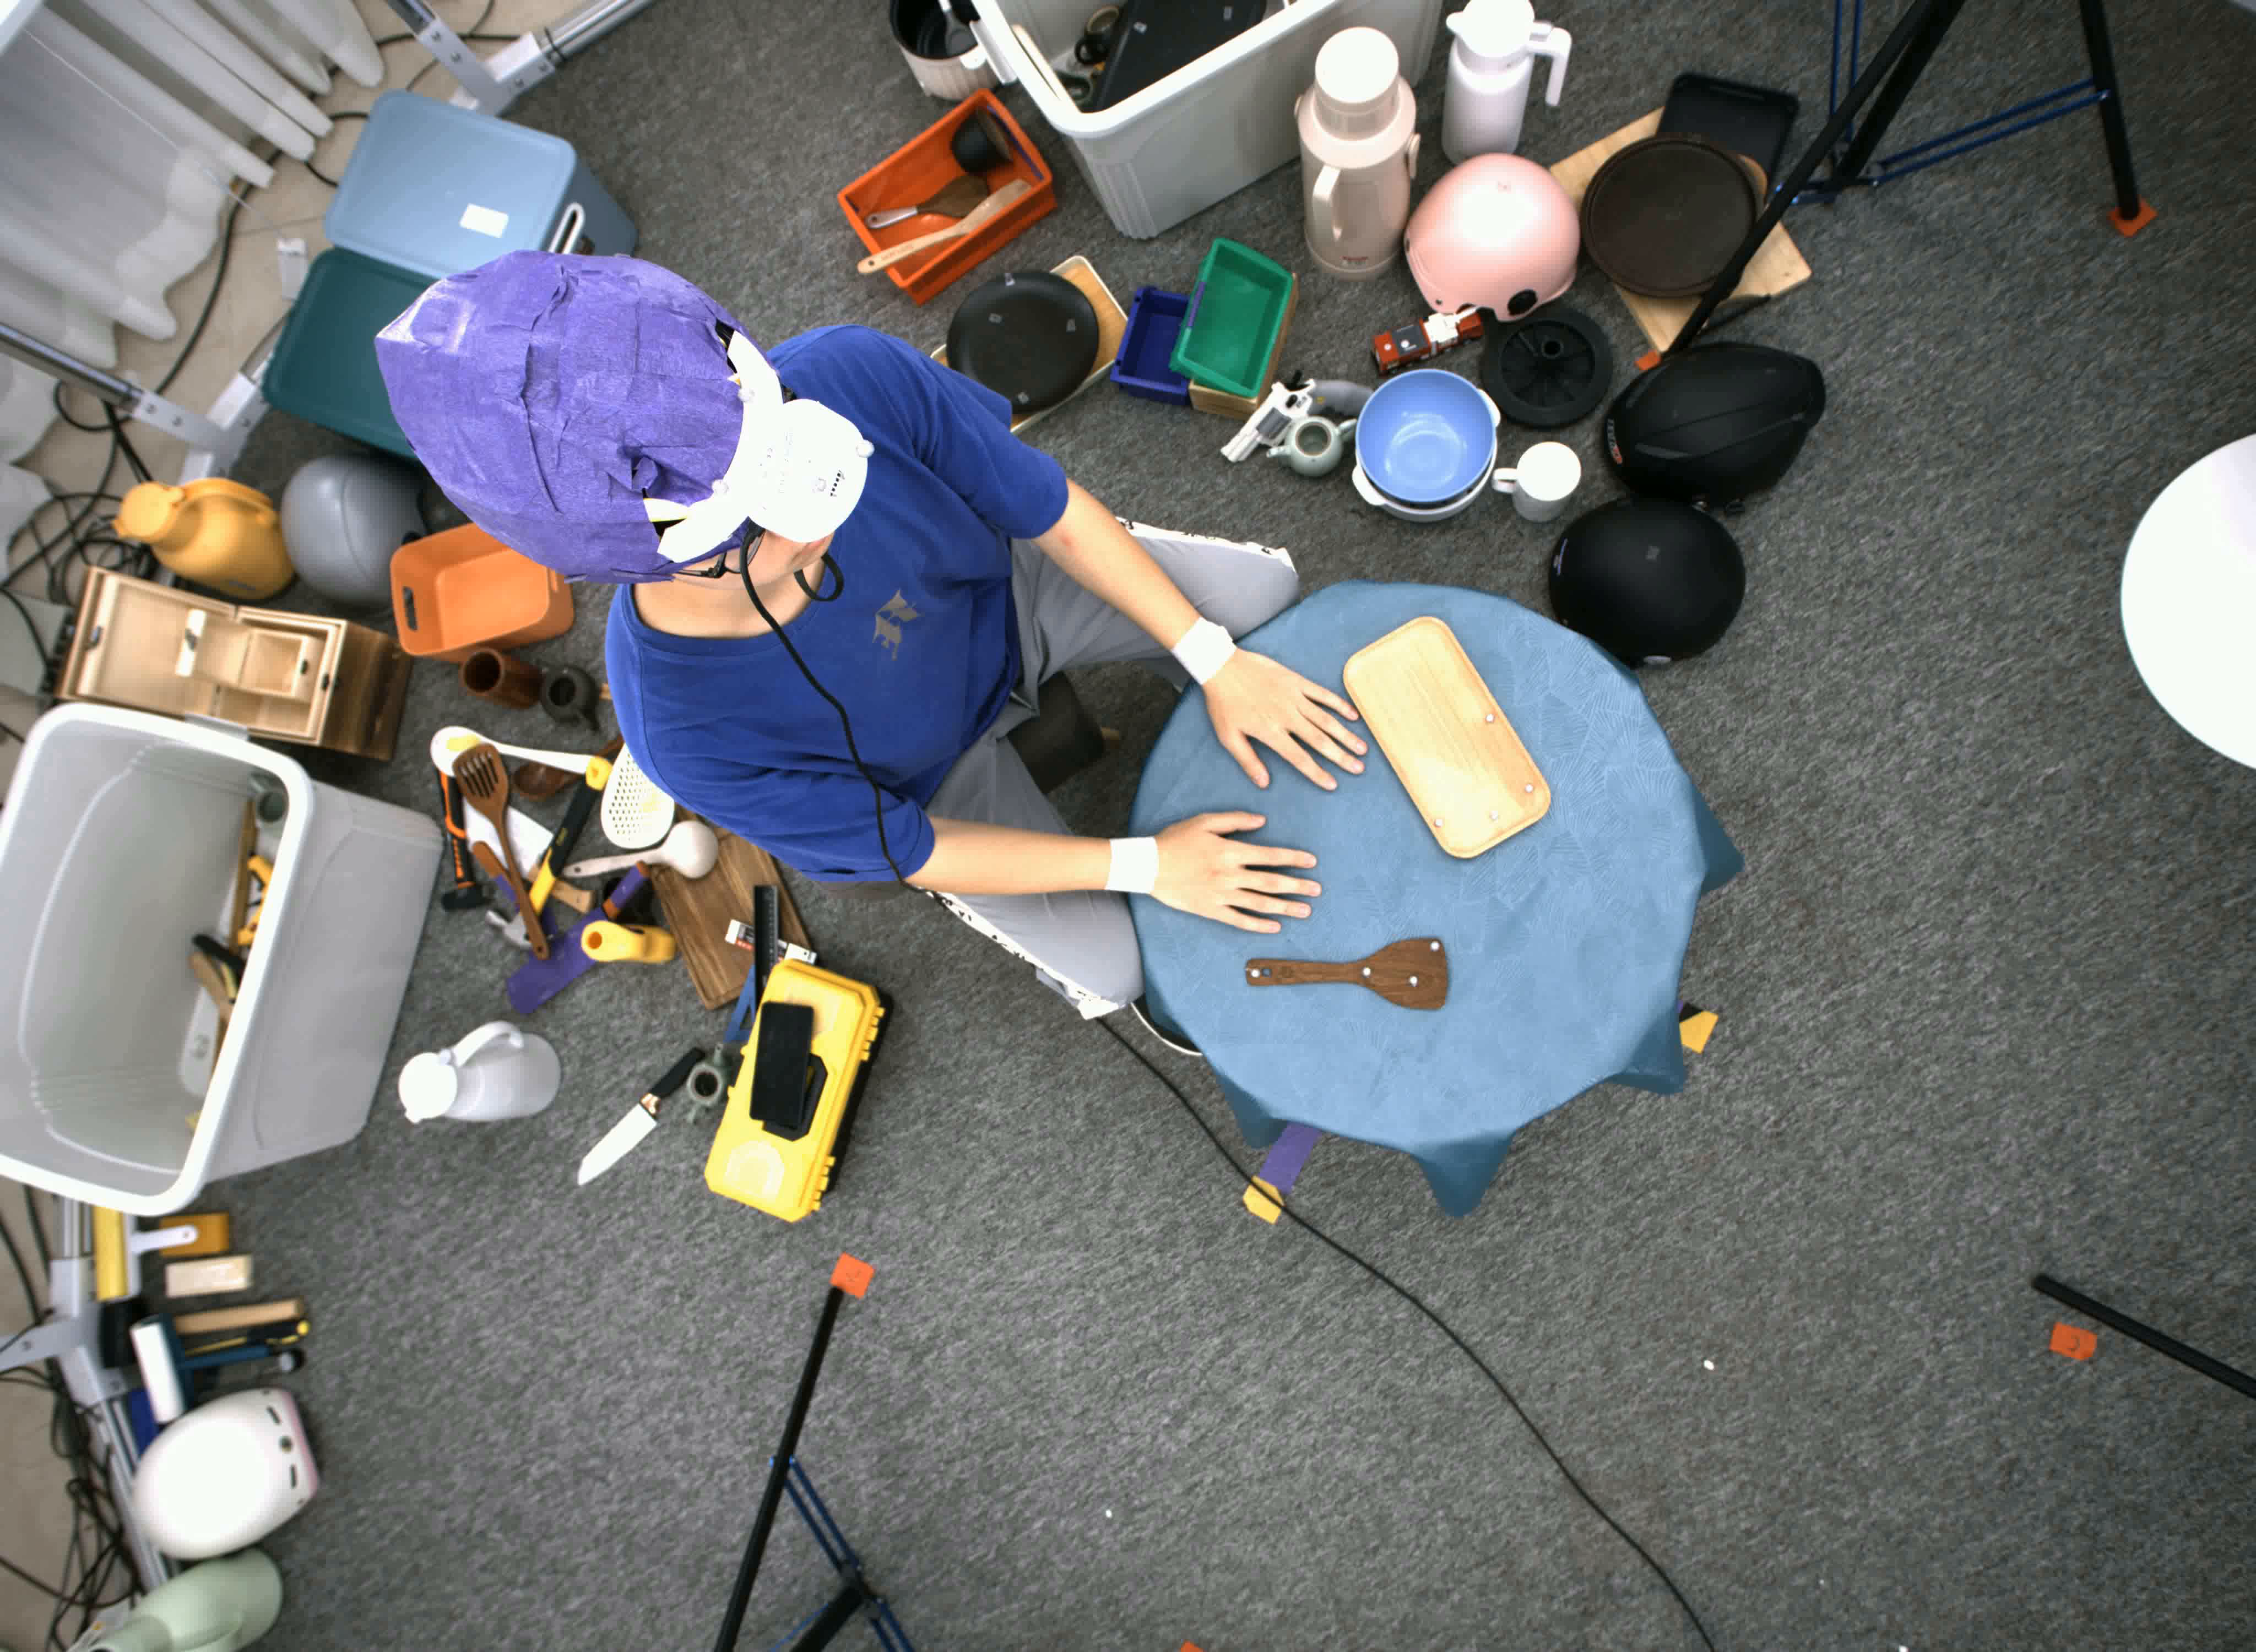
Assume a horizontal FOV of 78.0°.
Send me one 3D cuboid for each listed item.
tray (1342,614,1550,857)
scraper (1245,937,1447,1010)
[{"bbox_3d":[0.334,-0.098,1.446,0.131,0.023,0.249,-29,82,5],"label":"tray"},{"bbox_3d":[0.228,0.153,1.457,0.212,0.011,0.075,-1,86,12],"label":"scraper"}]
